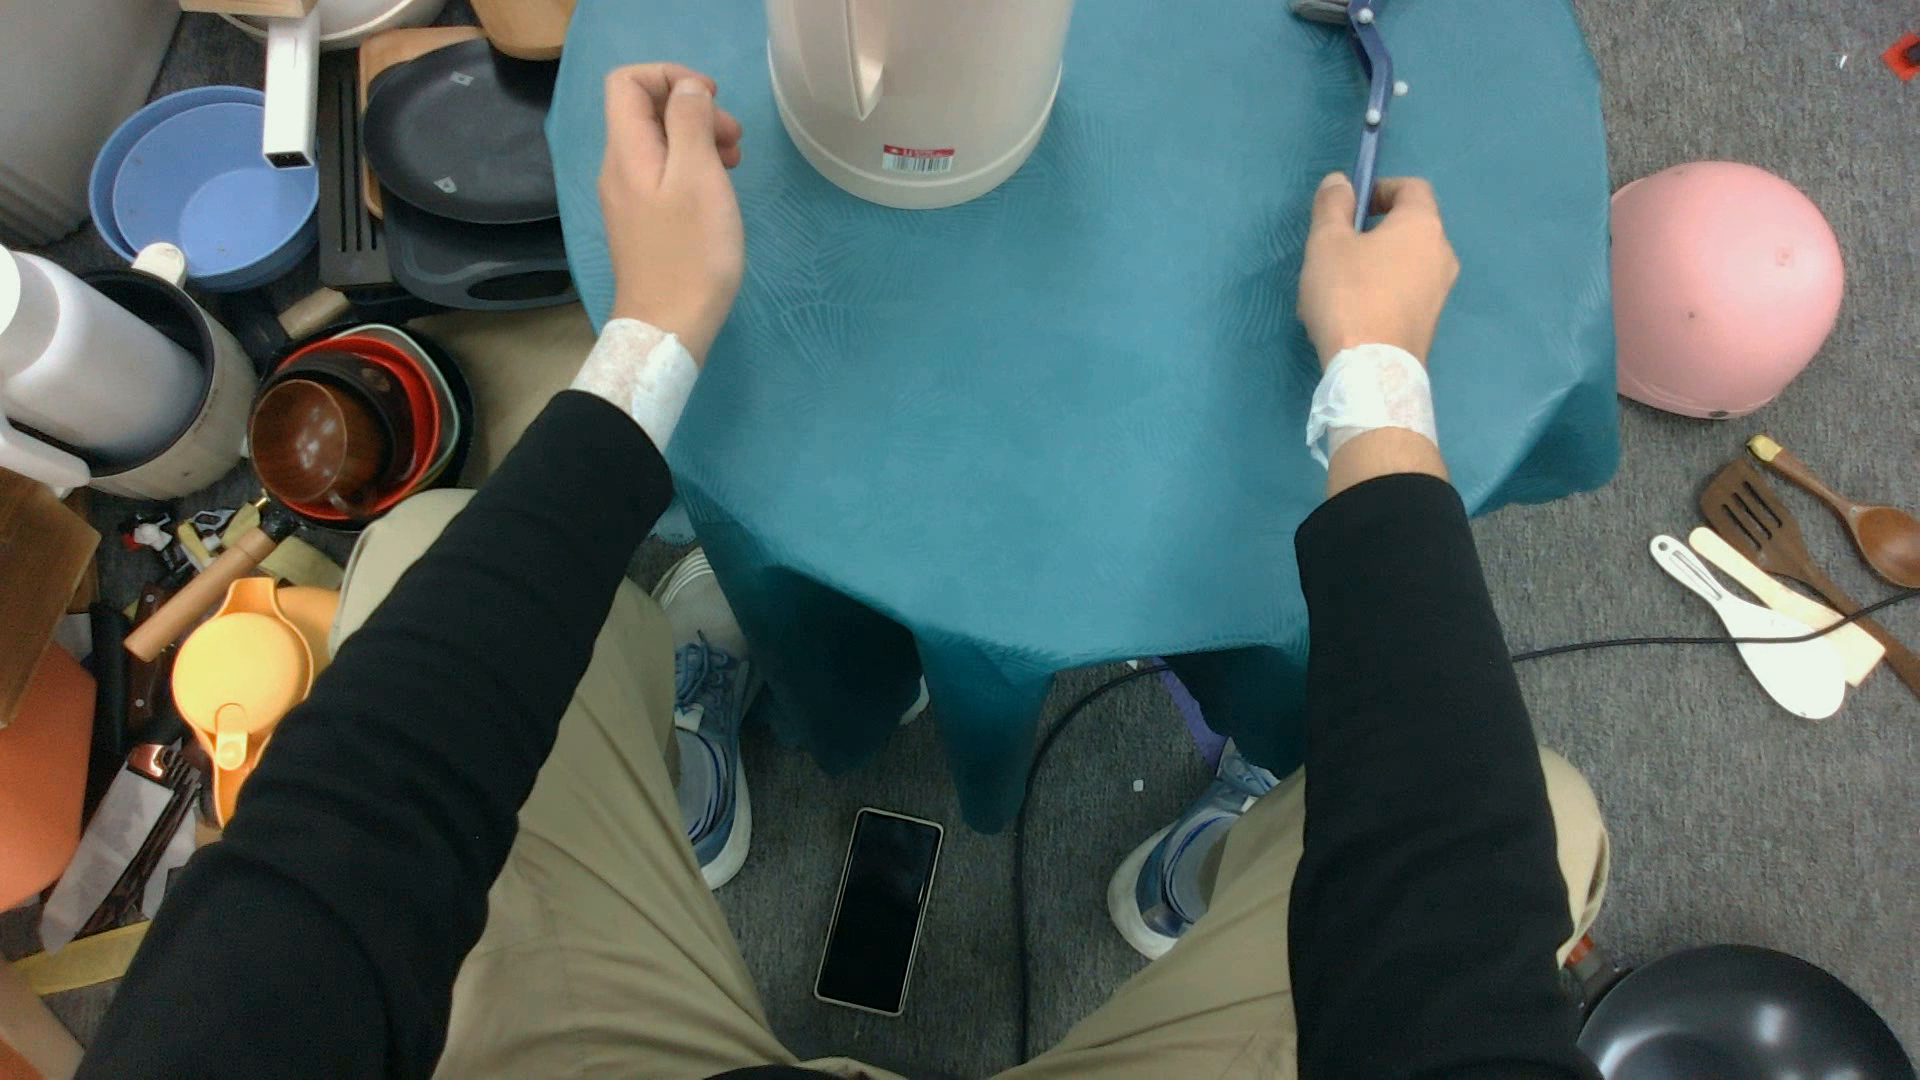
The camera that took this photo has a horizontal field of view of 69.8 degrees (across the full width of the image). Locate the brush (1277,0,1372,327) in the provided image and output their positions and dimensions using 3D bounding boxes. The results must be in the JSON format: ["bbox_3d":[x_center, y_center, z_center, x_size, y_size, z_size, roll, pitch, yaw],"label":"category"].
[{"bbox_3d":[0.225,-0.246,0.762,0.095,0.033,0.274,1,71,9],"label":"brush"}]

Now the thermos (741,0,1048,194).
[{"bbox_3d":[-0.029,-0.290,0.578,0.175,0.405,0.207,22,78,-2],"label":"thermos"}]
